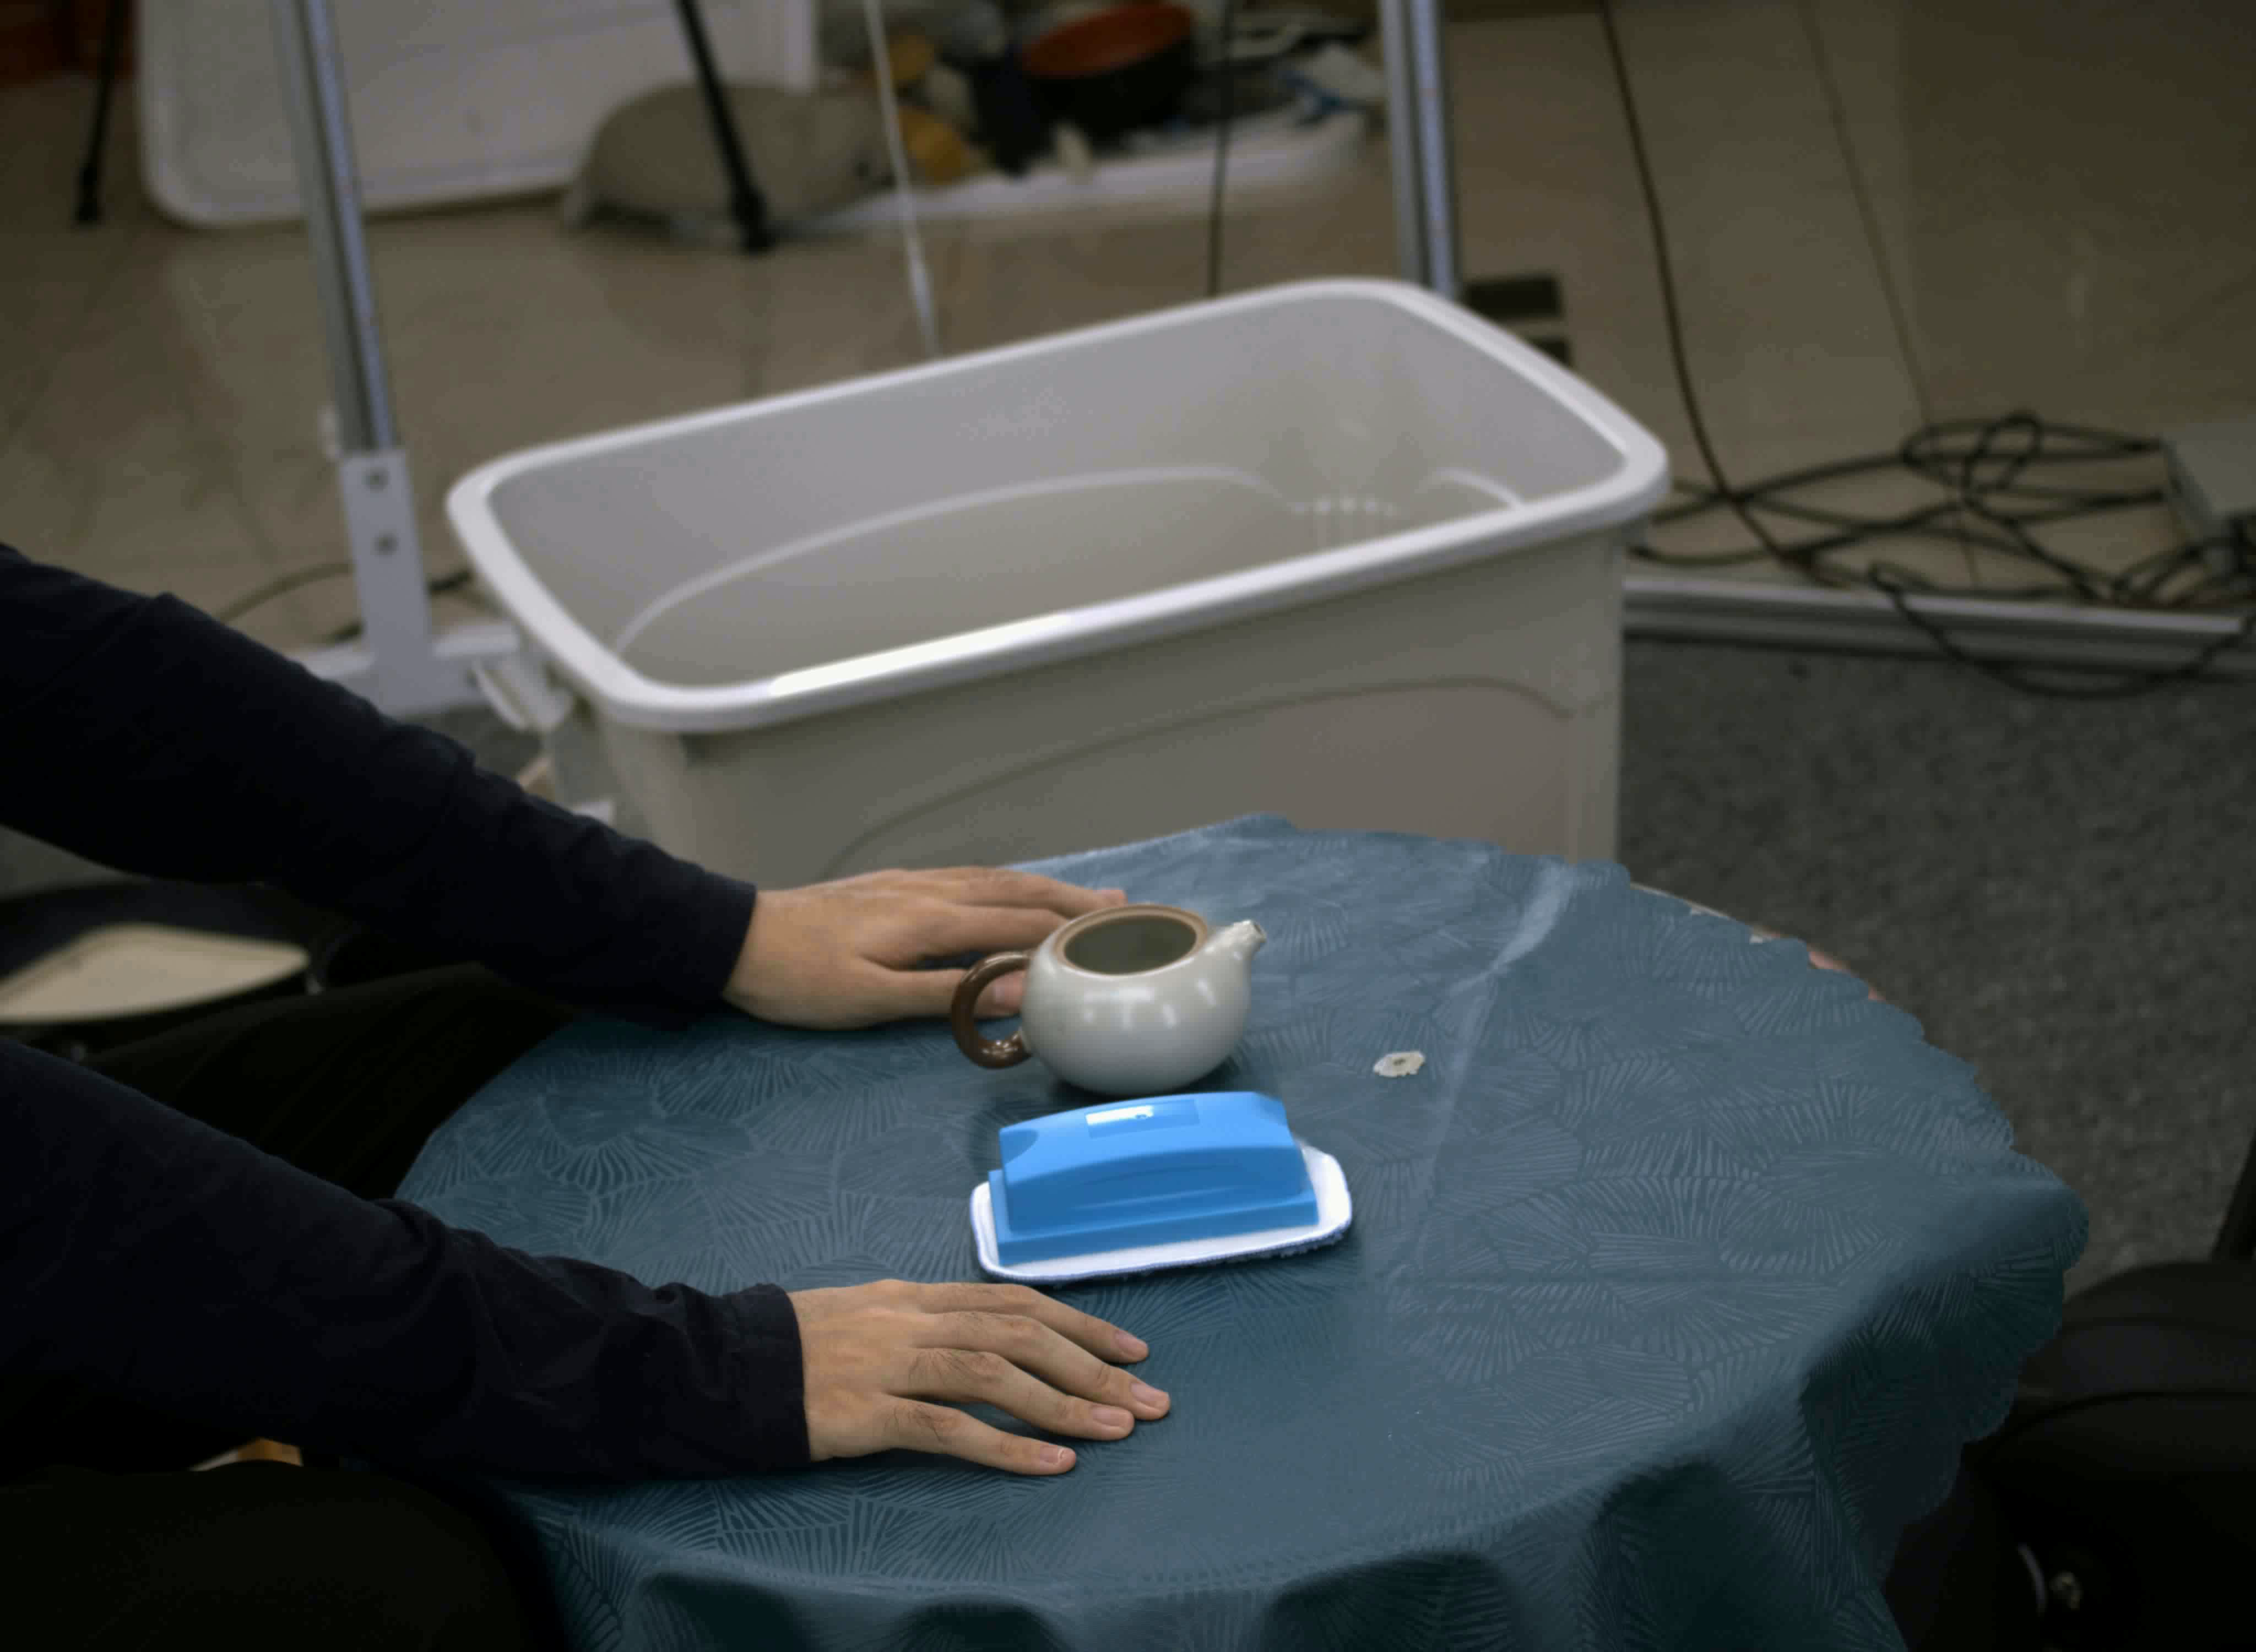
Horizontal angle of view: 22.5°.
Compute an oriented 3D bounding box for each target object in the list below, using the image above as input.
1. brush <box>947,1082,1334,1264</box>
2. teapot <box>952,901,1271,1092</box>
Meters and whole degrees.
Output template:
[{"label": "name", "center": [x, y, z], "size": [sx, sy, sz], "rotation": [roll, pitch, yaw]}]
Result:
[{"label": "brush", "center": [0.003, 0.125, 2.103], "size": [0.144, 0.057, 0.083], "rotation": [-4, 22, -1]}, {"label": "teapot", "center": [-0.006, 0.069, 2.228], "size": [0.128, 0.060, 0.090], "rotation": [-7, 28, -4]}]
